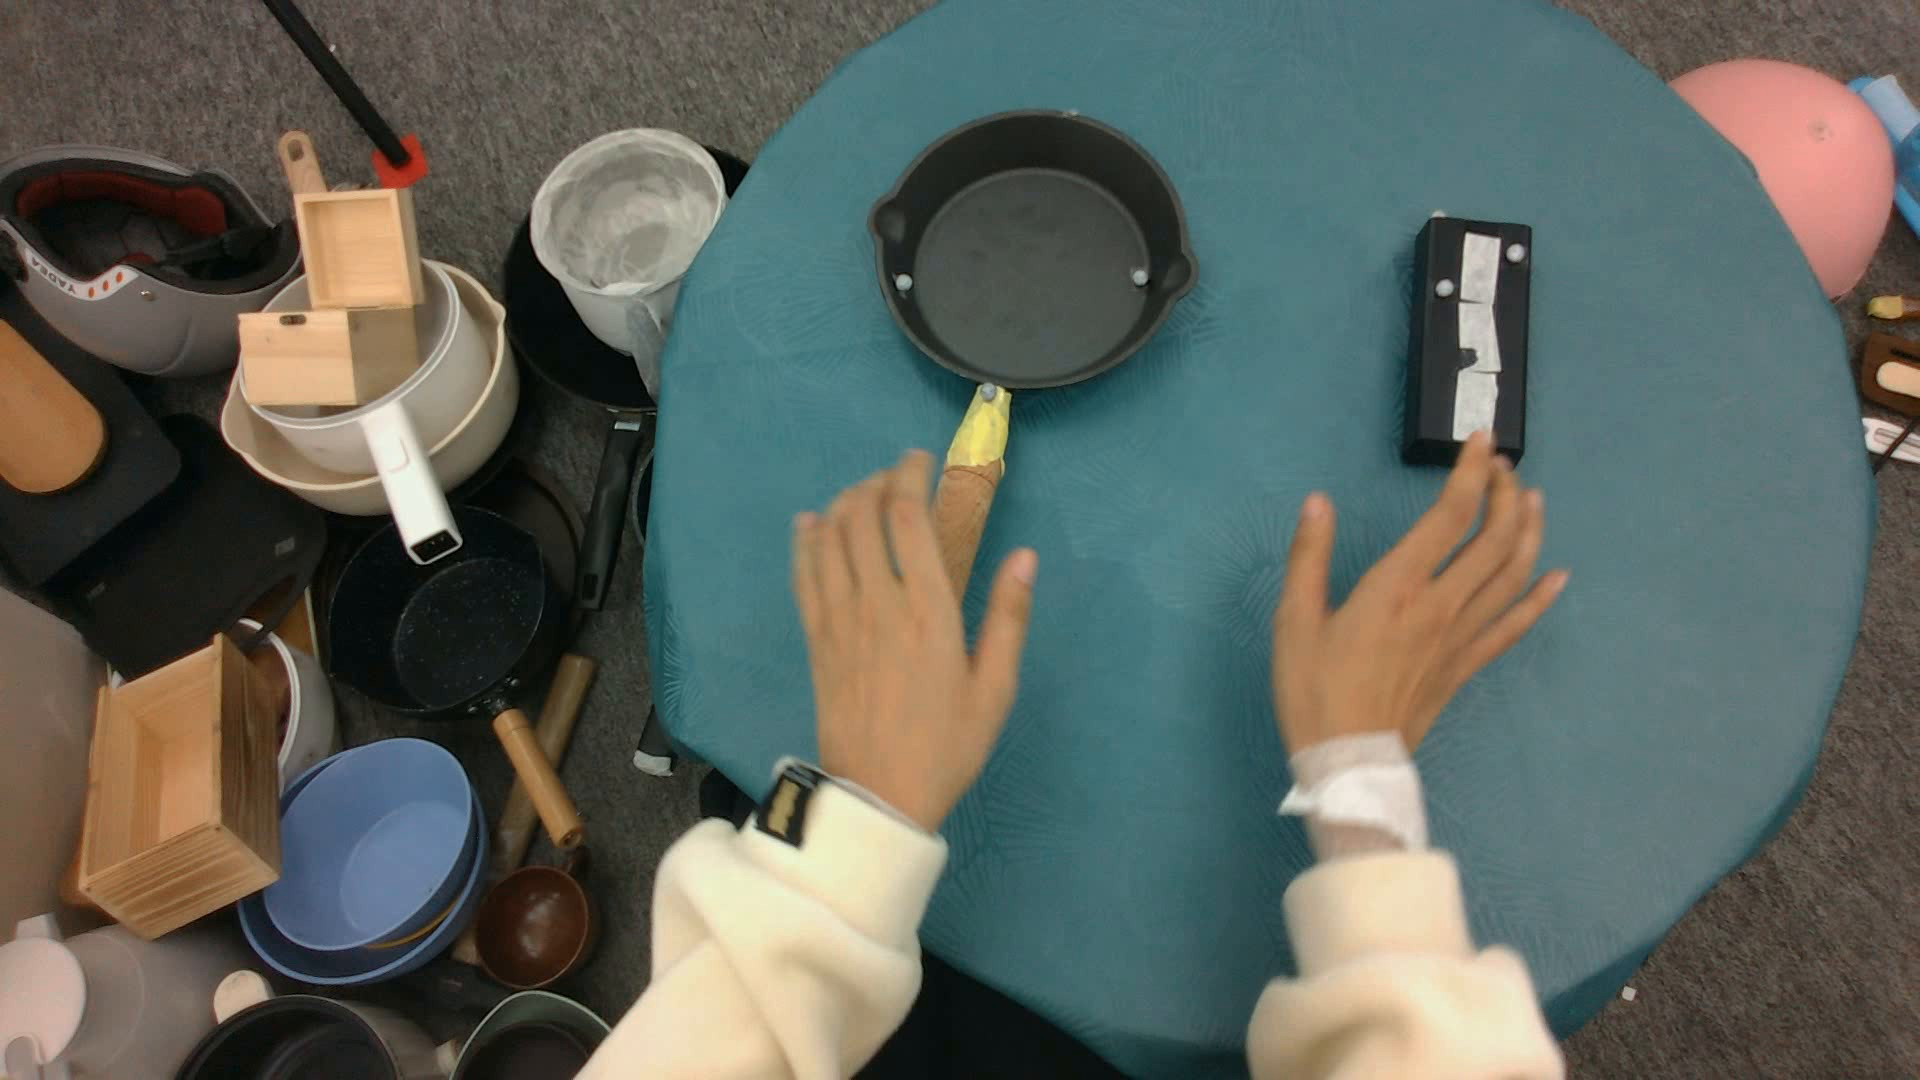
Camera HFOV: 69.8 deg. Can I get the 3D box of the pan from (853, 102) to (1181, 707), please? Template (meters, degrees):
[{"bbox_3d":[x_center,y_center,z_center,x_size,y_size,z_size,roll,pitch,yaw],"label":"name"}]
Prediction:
[{"bbox_3d":[0.006,-0.073,0.674,0.169,0.049,0.325,14,72,6],"label":"pan"}]

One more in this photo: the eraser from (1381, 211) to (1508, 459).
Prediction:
[{"bbox_3d":[0.241,-0.104,0.687,0.053,0.030,0.126,7,73,6],"label":"eraser"}]
